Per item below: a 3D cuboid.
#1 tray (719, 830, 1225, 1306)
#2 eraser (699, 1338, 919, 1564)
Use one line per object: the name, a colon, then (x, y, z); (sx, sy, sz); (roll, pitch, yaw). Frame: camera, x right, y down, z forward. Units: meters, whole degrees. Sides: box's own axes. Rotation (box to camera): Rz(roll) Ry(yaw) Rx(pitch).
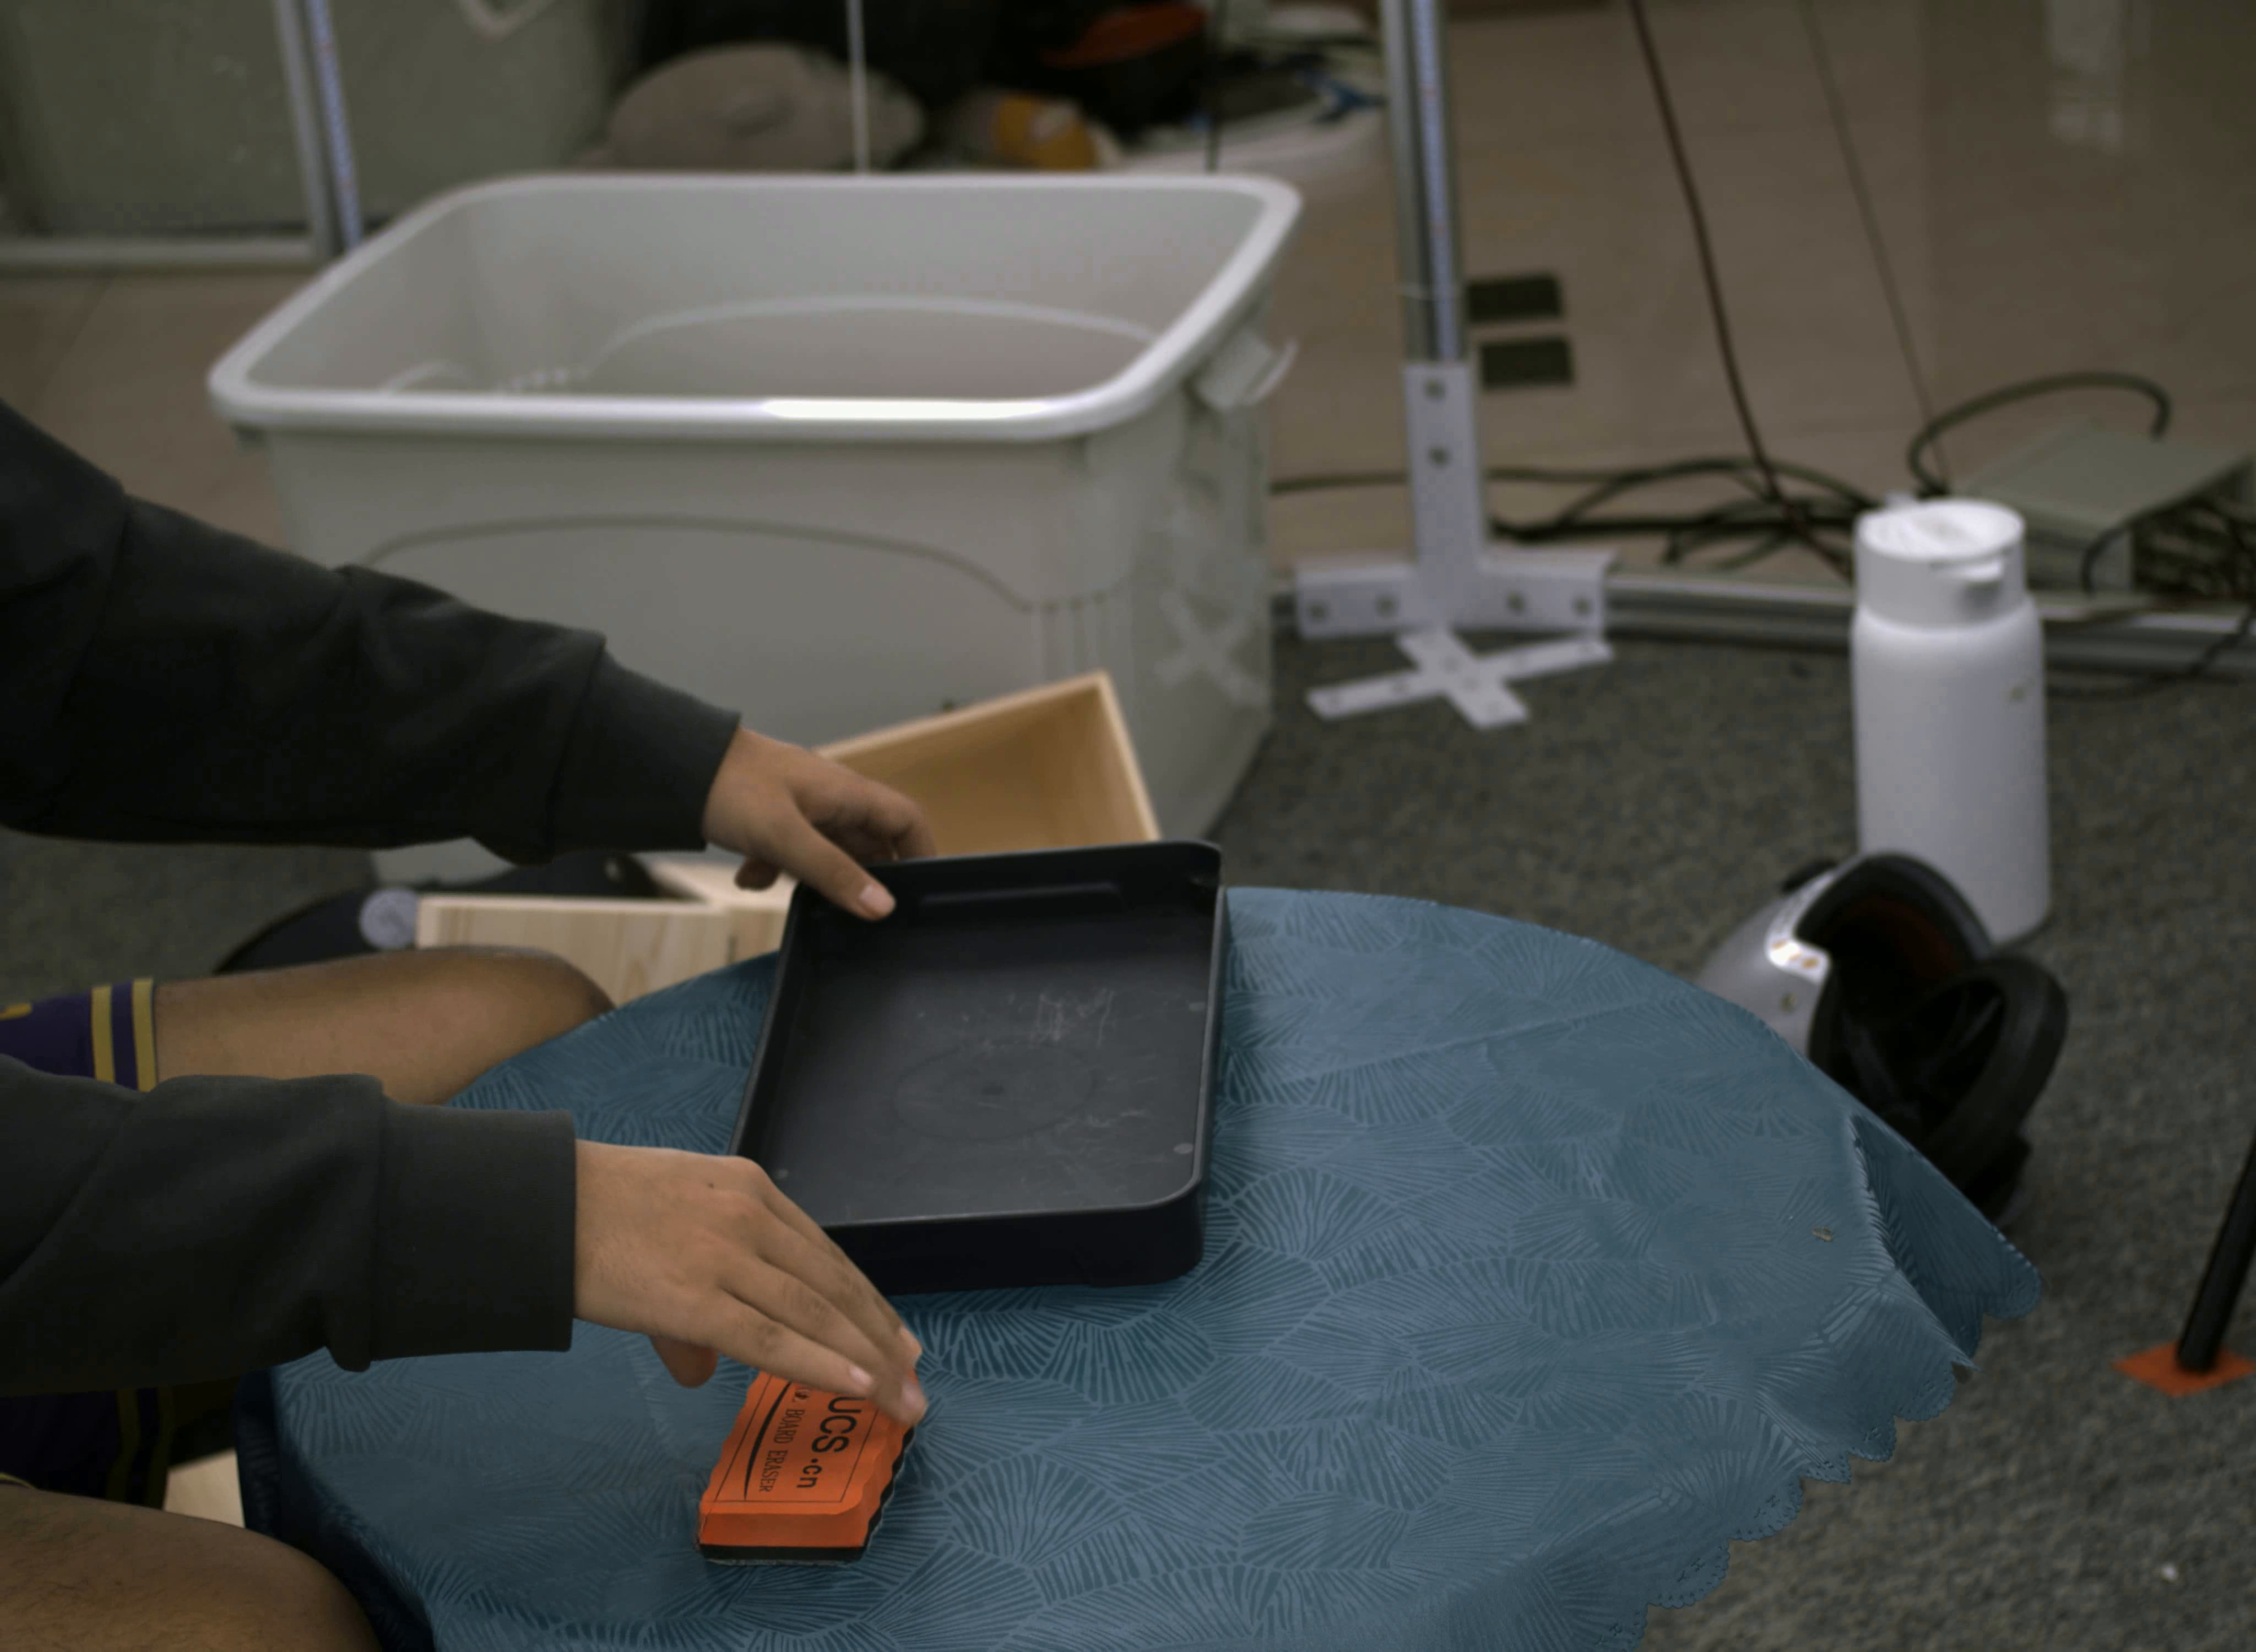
tray: (-0.054, 0.090, 2.224); (0.184, 0.037, 0.313); (-5, 25, 5)
eraser: (-0.110, 0.216, 1.973); (0.059, 0.023, 0.106); (-8, 25, 15)
